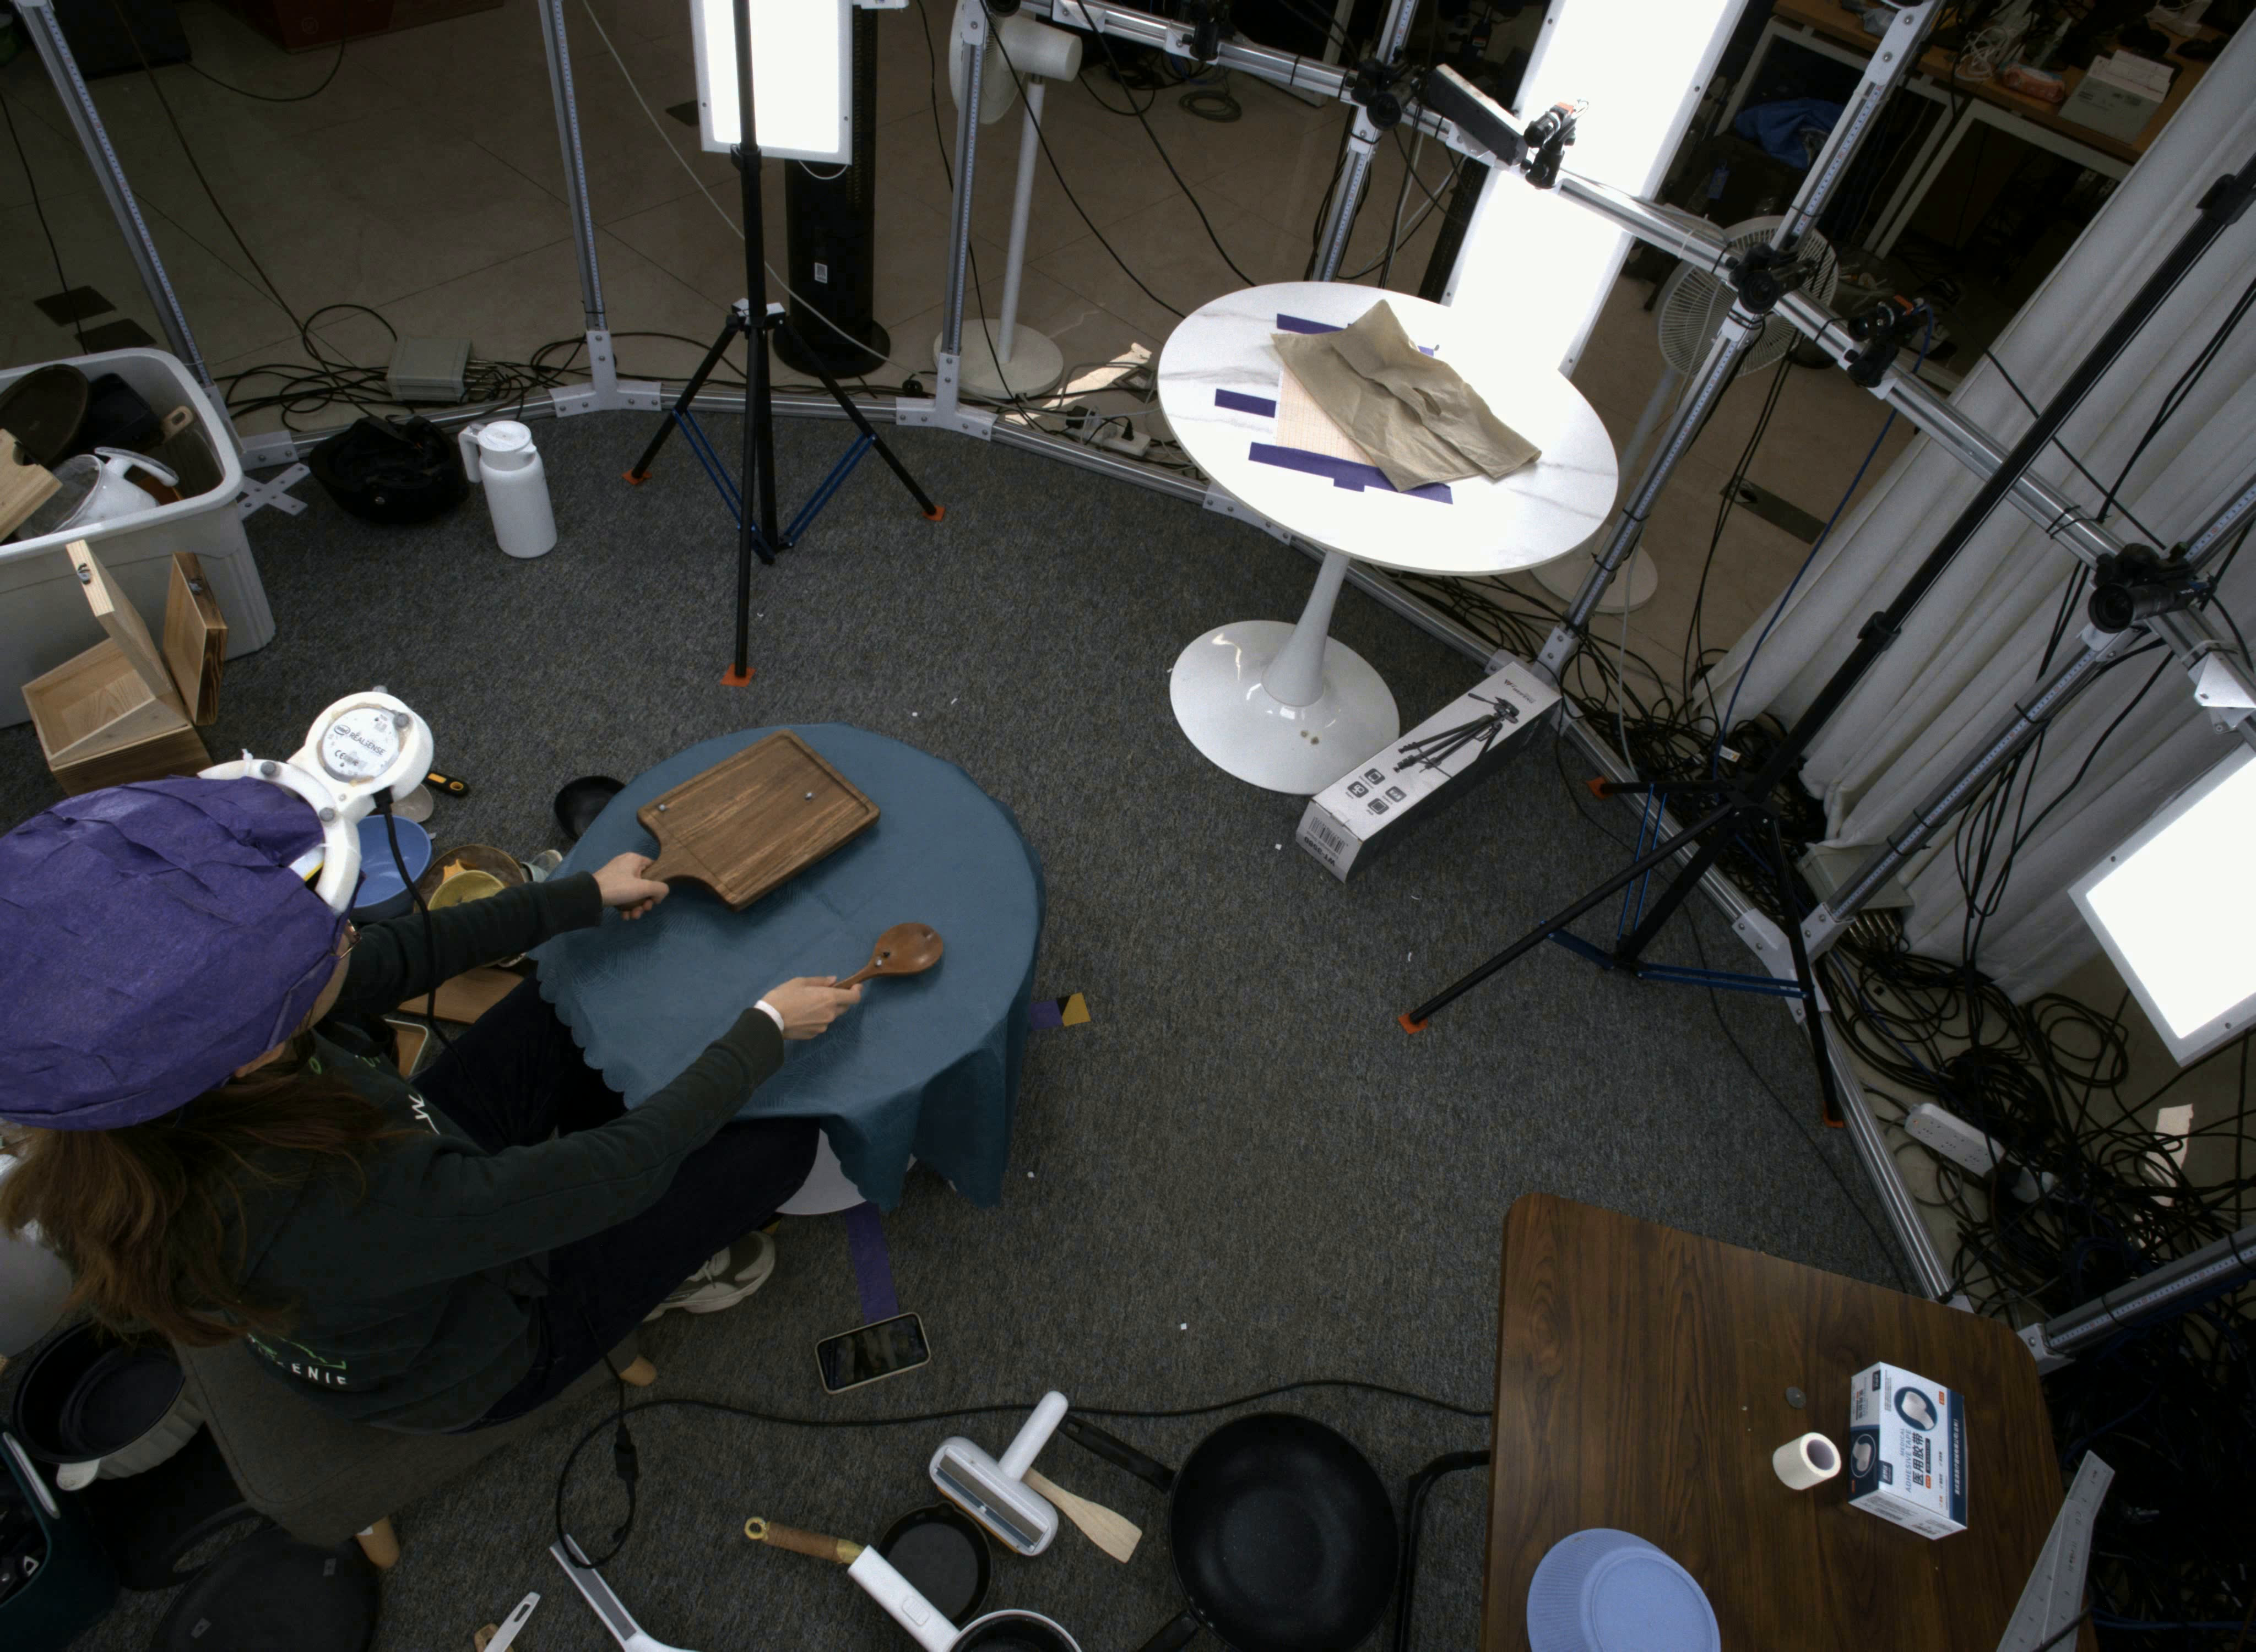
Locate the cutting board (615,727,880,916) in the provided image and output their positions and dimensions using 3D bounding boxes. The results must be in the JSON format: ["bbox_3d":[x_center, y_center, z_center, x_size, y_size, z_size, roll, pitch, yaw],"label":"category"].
[{"bbox_3d":[-0.509,0.009,1.651,0.197,0.023,0.353,41,50,13],"label":"cutting board"}]

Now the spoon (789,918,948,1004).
[{"bbox_3d":[-0.317,0.167,1.597,0.217,0.017,0.073,-22,58,-36],"label":"spoon"}]
